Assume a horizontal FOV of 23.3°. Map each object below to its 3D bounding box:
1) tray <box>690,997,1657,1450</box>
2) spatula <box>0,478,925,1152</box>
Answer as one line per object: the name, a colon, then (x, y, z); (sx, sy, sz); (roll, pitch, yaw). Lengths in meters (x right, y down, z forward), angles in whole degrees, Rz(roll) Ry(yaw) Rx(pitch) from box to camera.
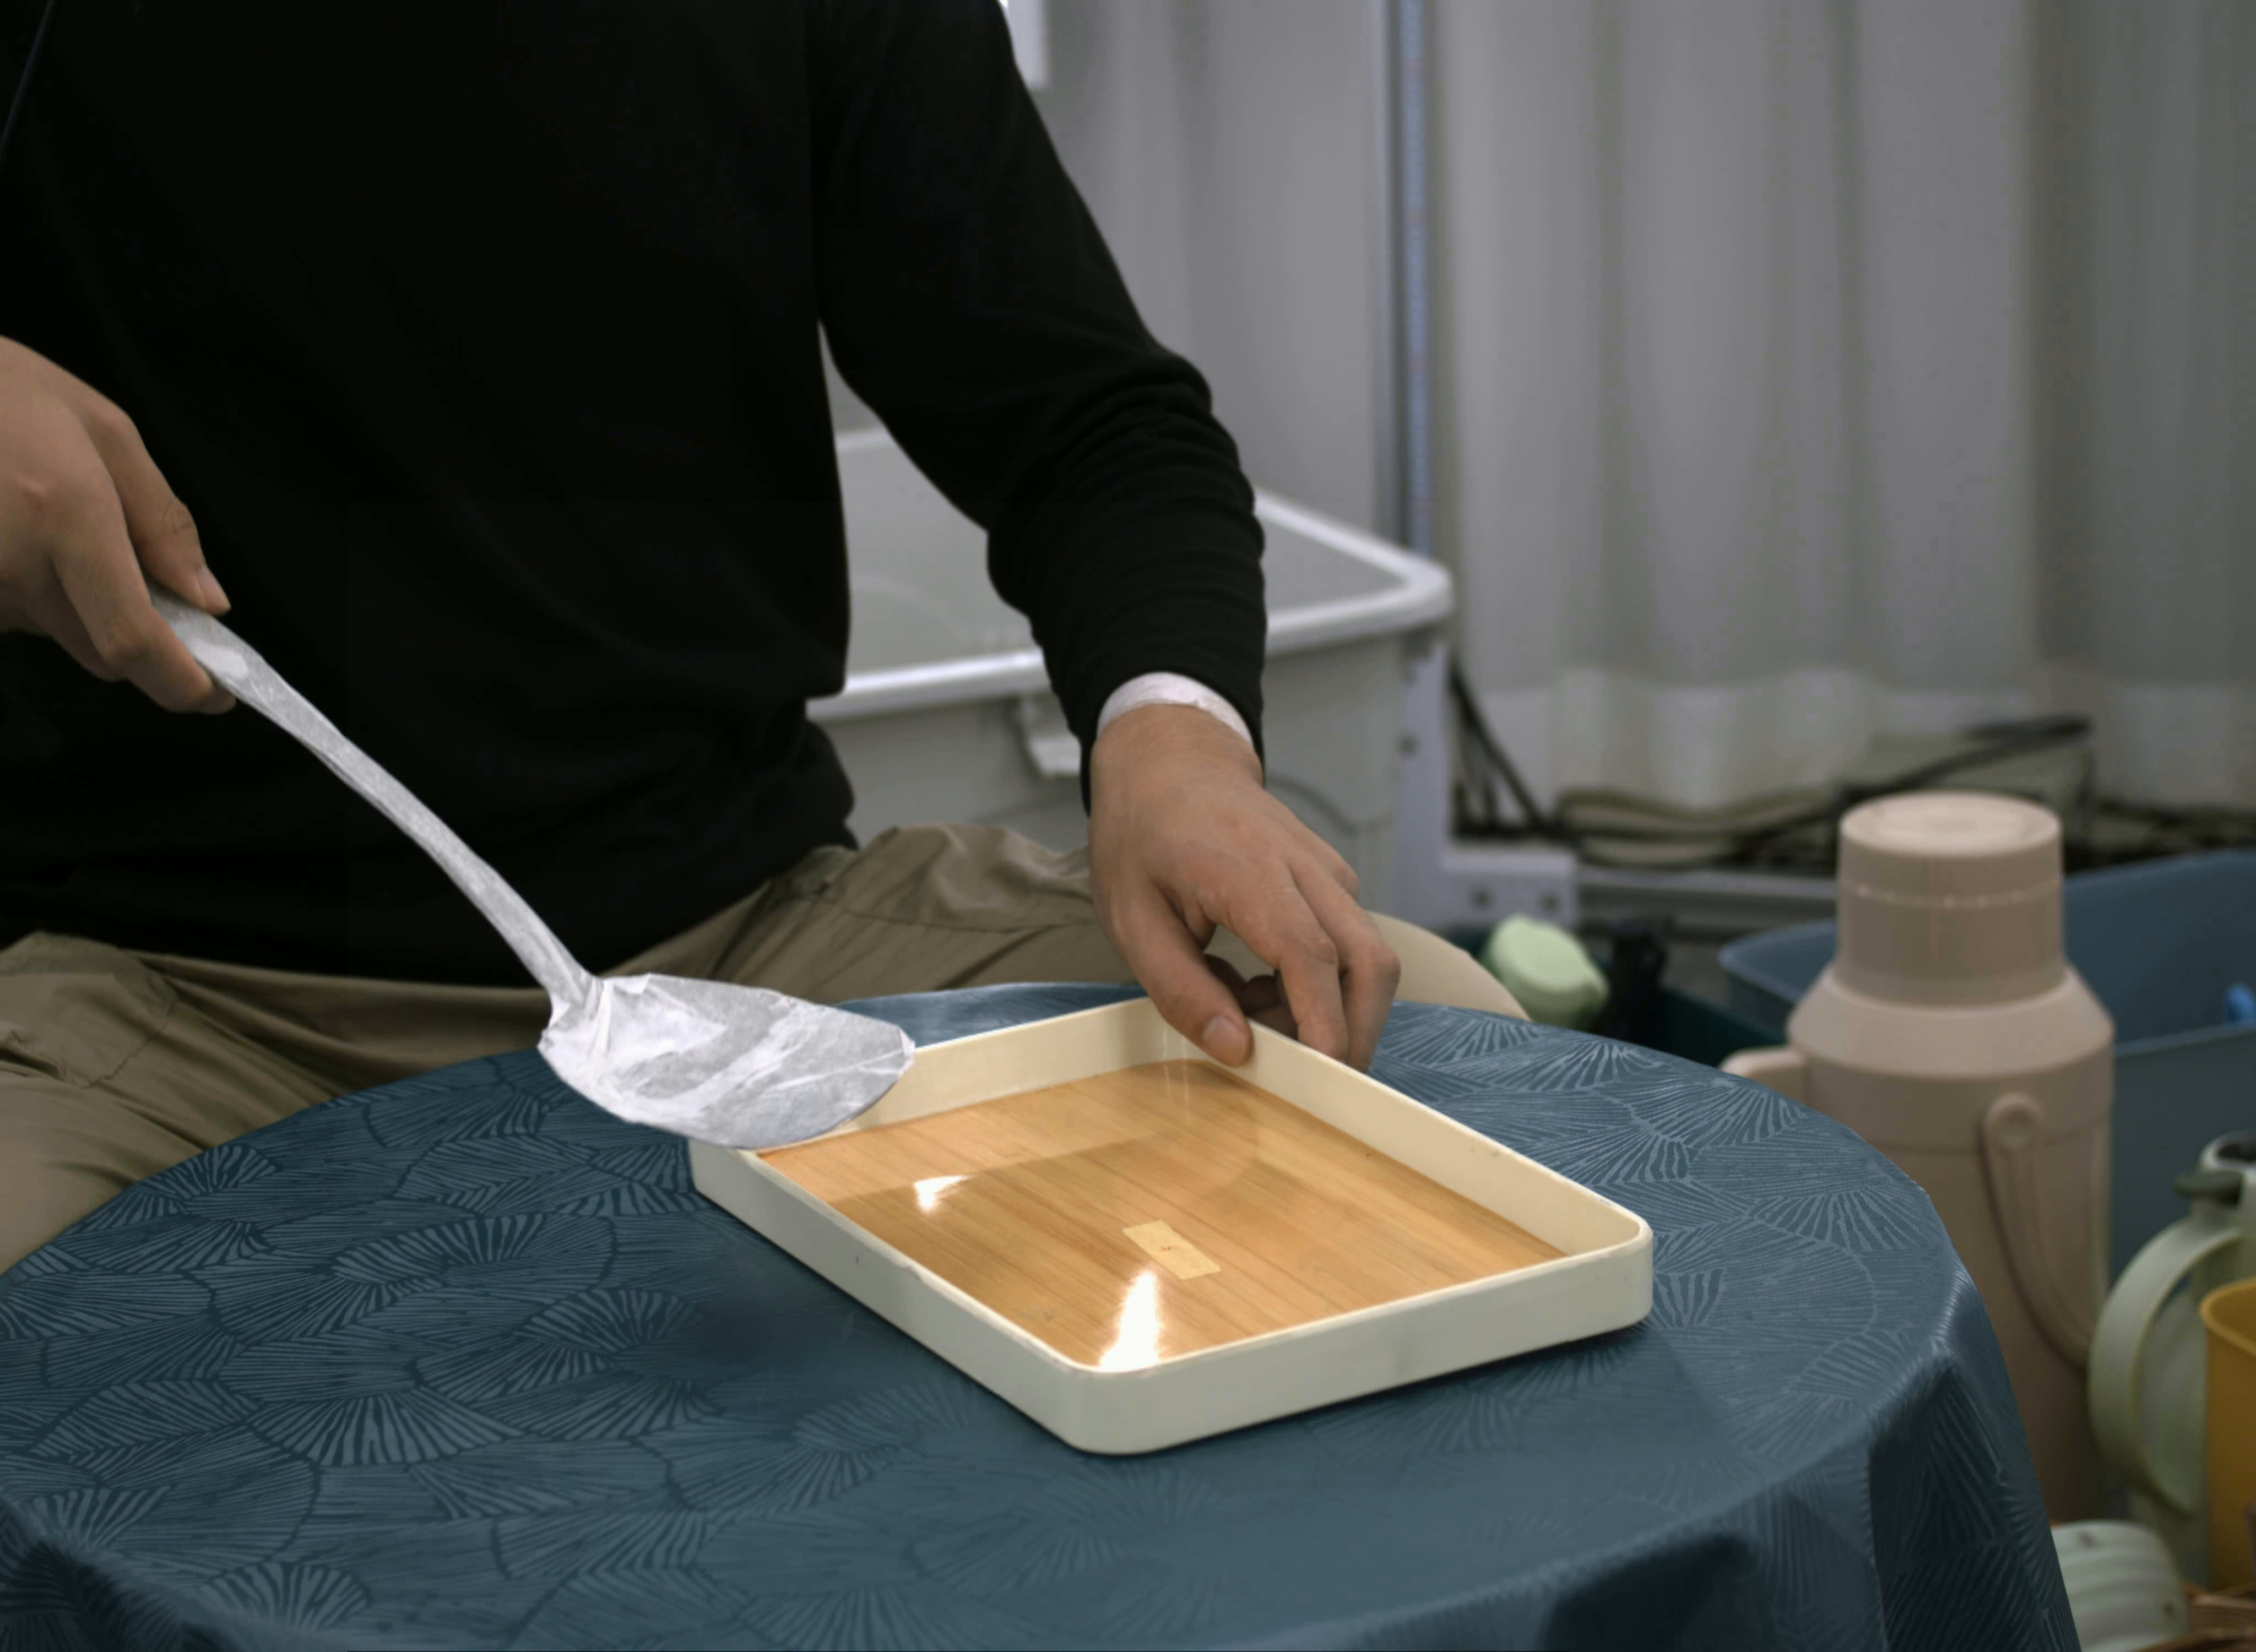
tray: (0.007, 0.115, 1.652); (0.191, 0.027, 0.302); (-11, 17, -25)
spatula: (-0.219, -0.012, 1.643); (0.367, 0.044, 0.099); (39, 36, 17)
